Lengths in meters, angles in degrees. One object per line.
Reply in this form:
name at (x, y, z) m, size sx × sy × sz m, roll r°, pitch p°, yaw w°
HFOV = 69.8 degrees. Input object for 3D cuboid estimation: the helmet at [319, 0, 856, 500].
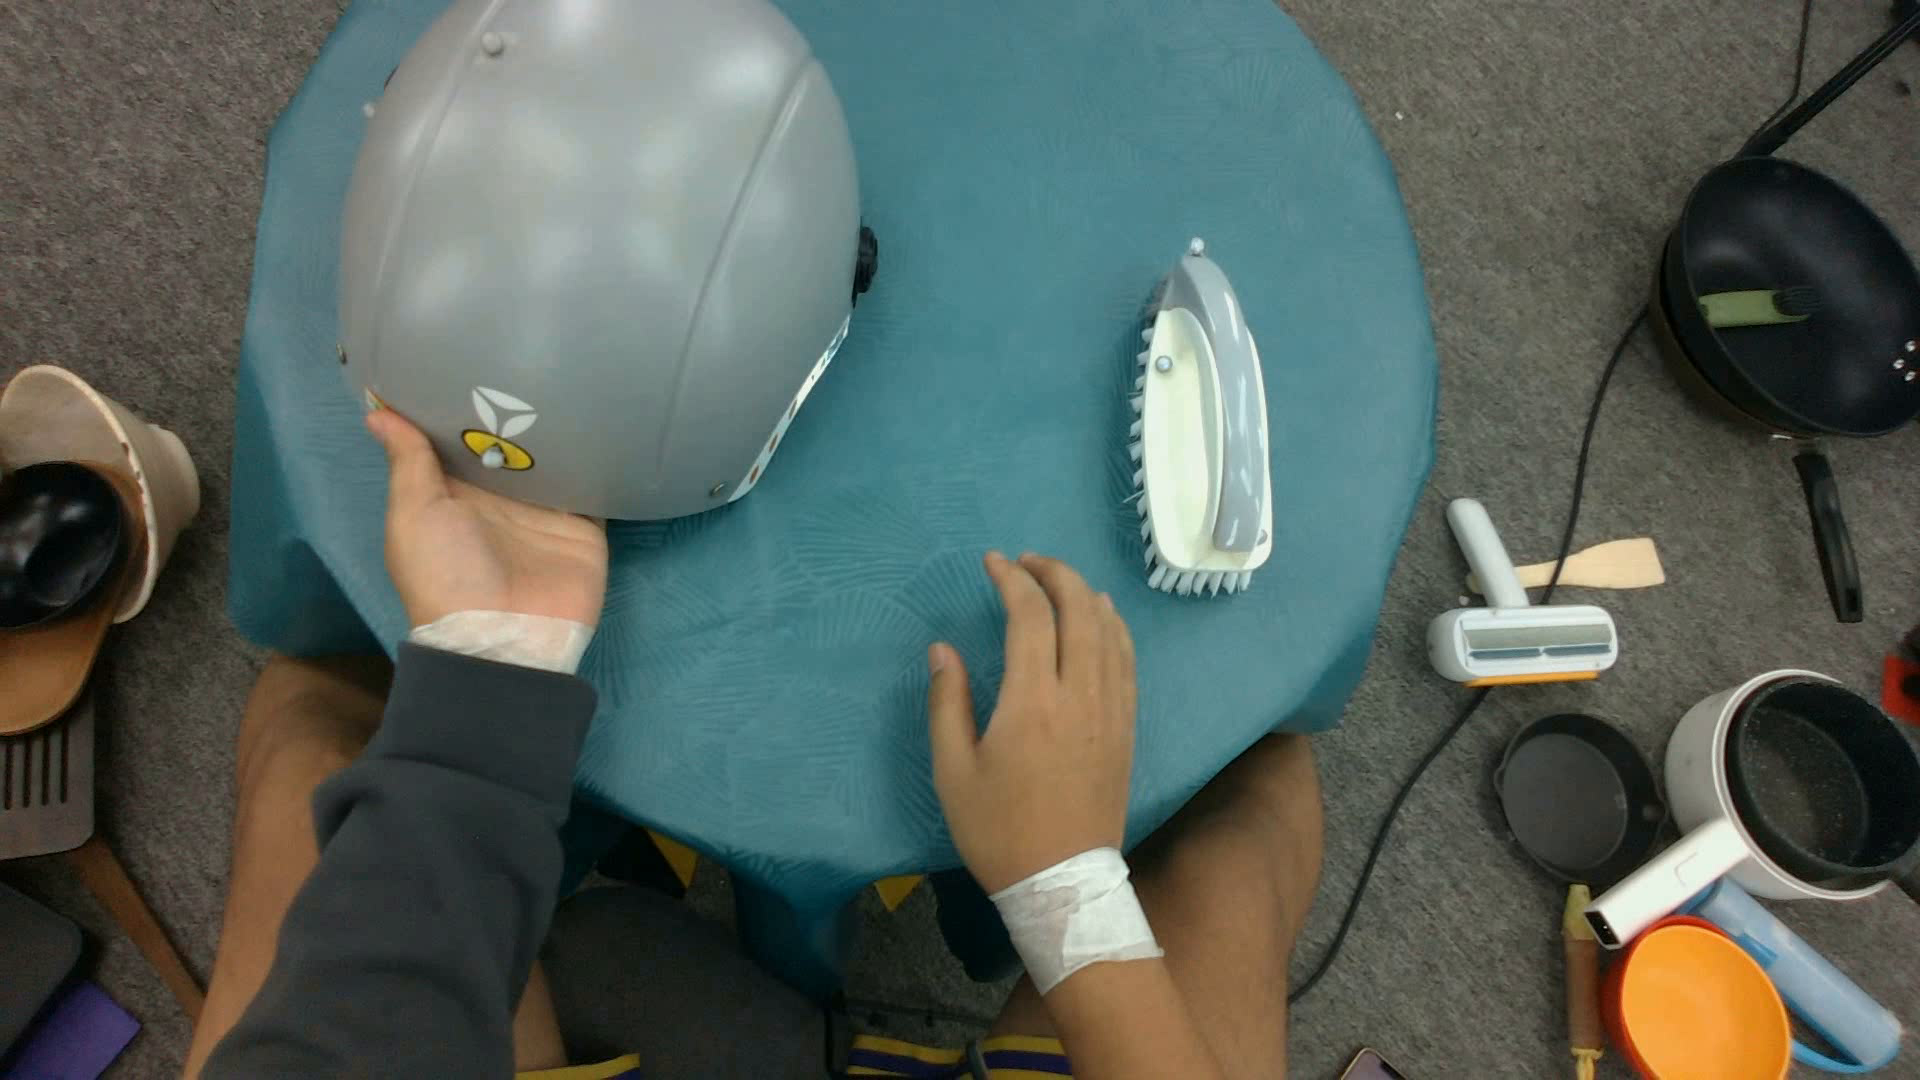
helmet at (-0.156, -0.162, 0.599) m, size 0.232 × 0.168 × 0.277 m, roll 20°, pitch 67°, yaw -9°

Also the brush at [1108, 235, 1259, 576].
brush at (0.110, -0.078, 0.664) m, size 0.061 × 0.094 × 0.176 m, roll 1°, pitch 69°, yaw -11°
